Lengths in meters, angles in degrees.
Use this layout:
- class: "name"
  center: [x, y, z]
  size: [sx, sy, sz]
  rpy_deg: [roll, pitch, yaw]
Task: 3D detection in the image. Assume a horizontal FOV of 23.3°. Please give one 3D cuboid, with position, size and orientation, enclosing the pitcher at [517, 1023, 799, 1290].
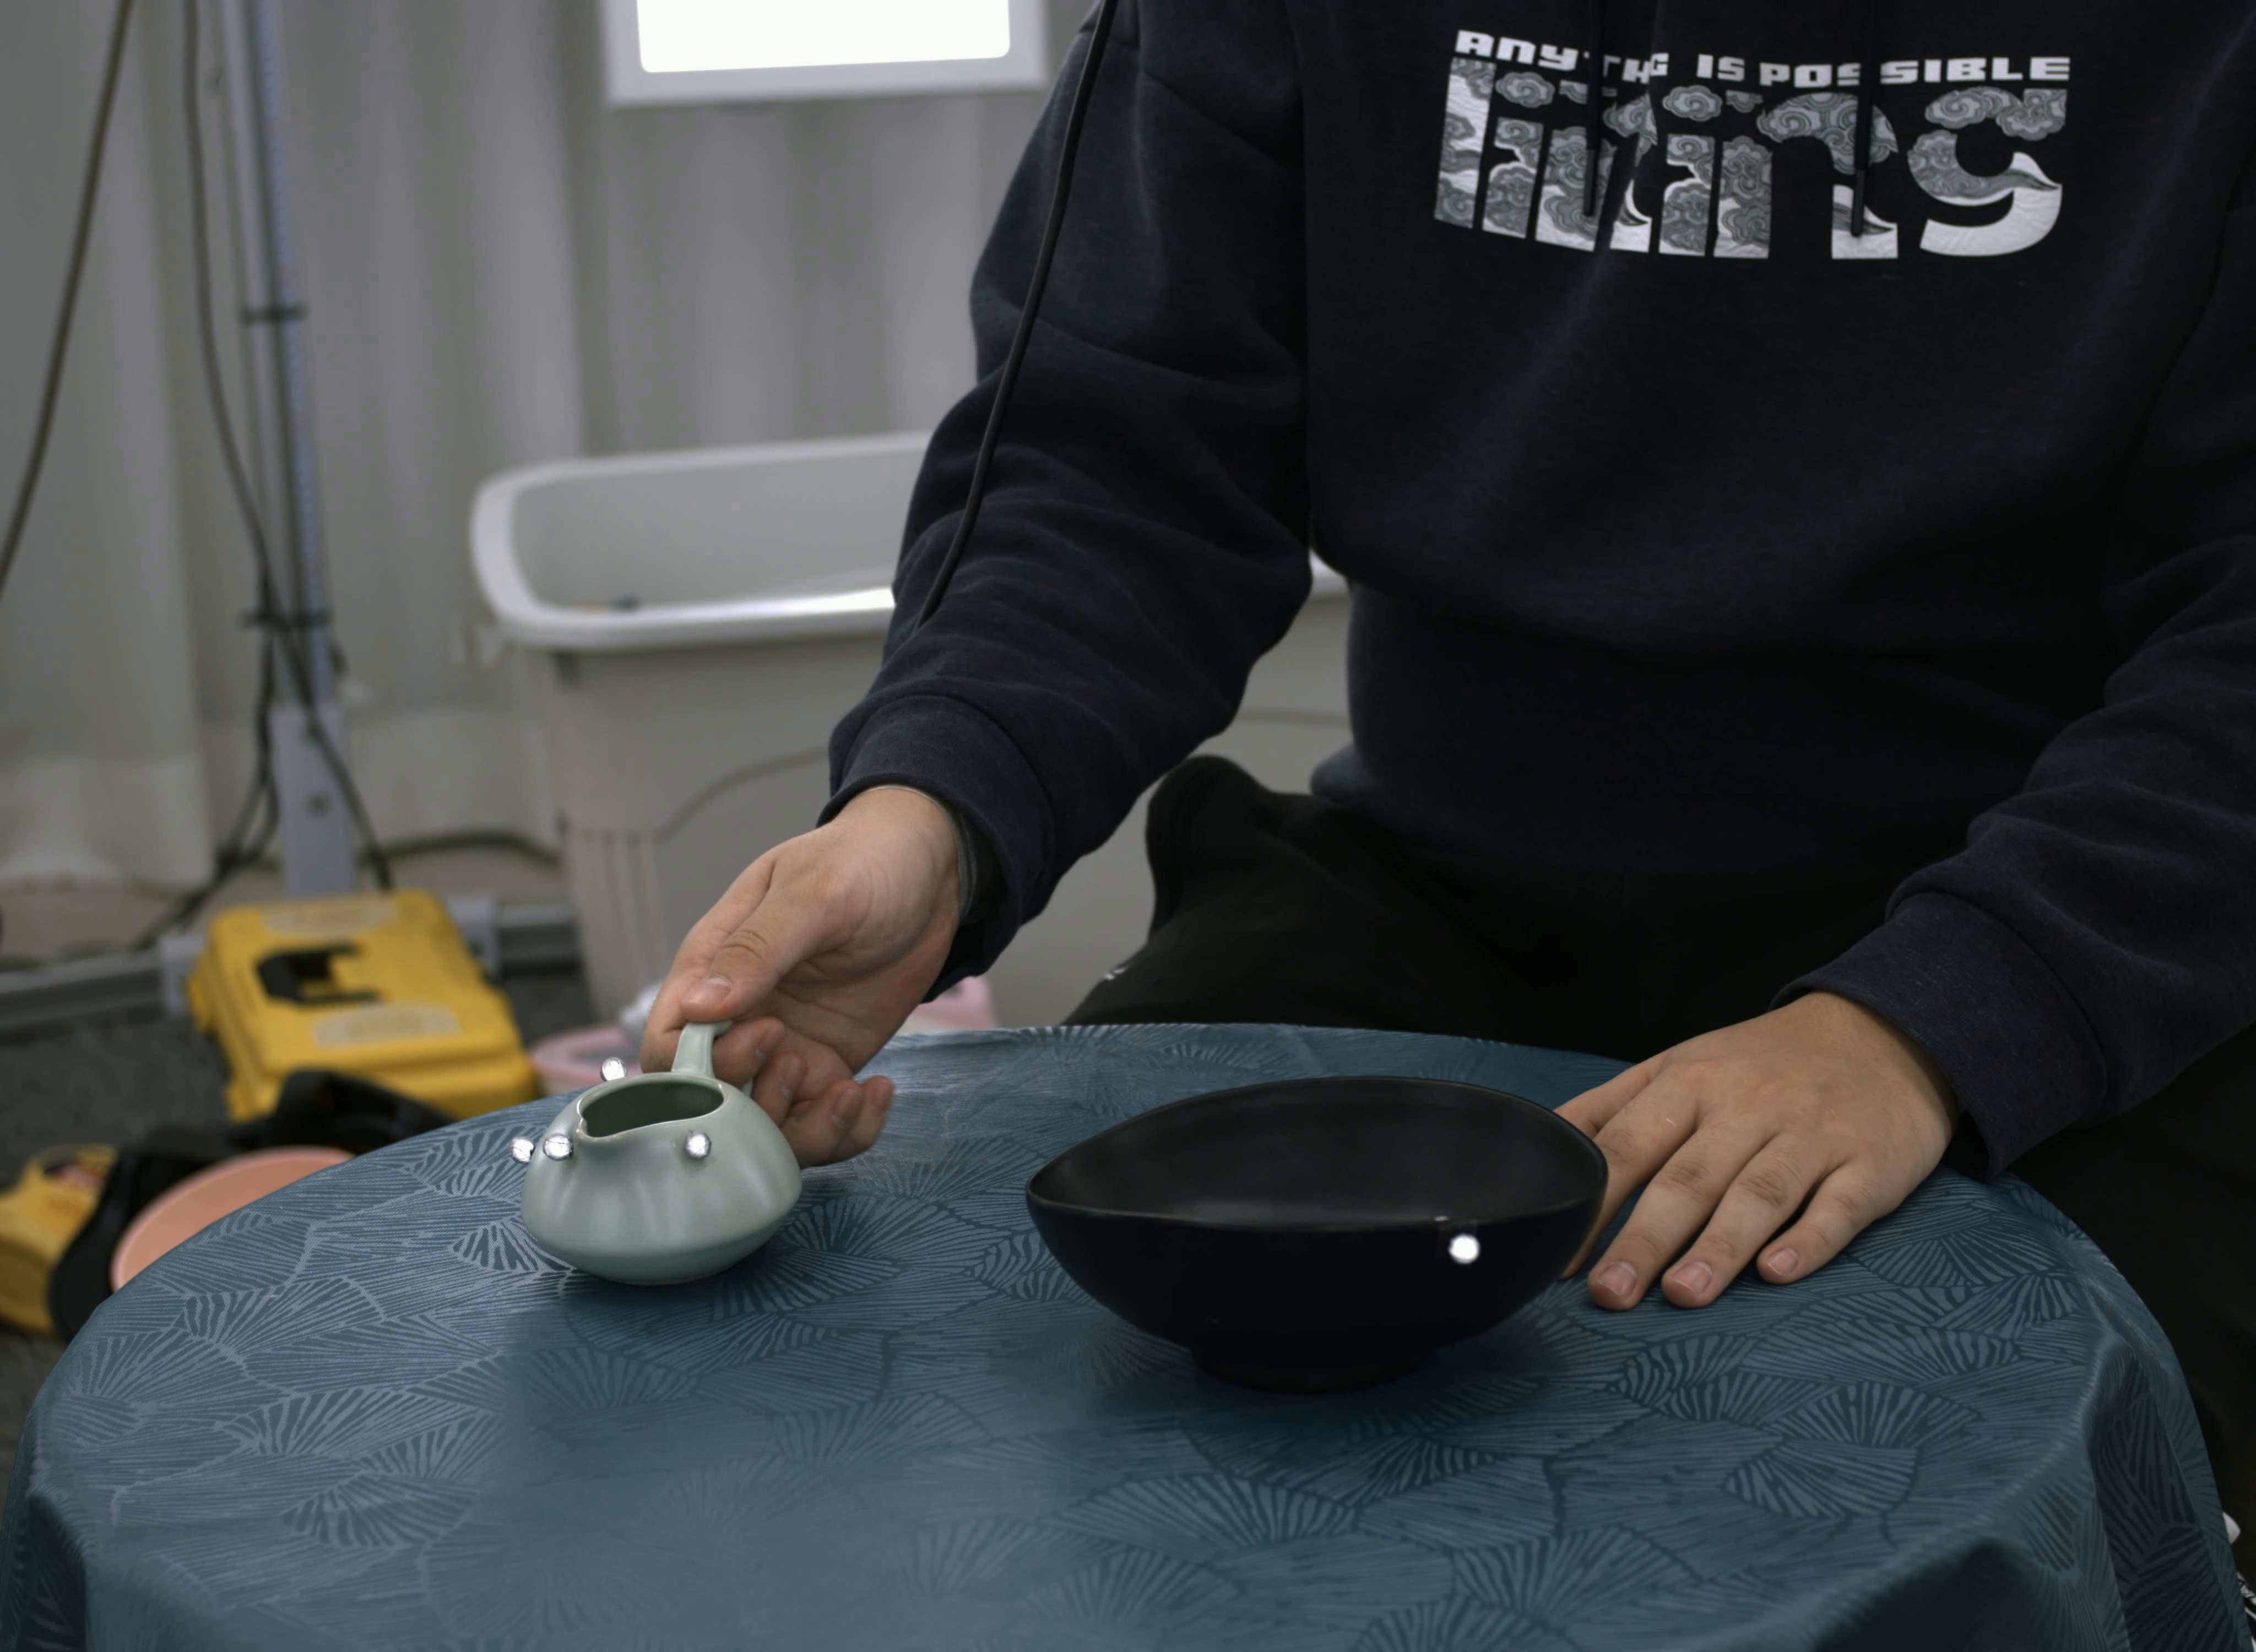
- class: "pitcher"
  center: [-0.140, 0.102, 1.674]
  size: [0.086, 0.060, 0.108]
  rpy_deg: [3, 18, 17]

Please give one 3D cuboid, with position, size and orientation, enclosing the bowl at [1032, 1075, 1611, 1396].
- class: "bowl"
  center: [0.054, 0.122, 1.560]
  size: [0.170, 0.066, 0.138]
  rpy_deg: [1, 14, 17]
